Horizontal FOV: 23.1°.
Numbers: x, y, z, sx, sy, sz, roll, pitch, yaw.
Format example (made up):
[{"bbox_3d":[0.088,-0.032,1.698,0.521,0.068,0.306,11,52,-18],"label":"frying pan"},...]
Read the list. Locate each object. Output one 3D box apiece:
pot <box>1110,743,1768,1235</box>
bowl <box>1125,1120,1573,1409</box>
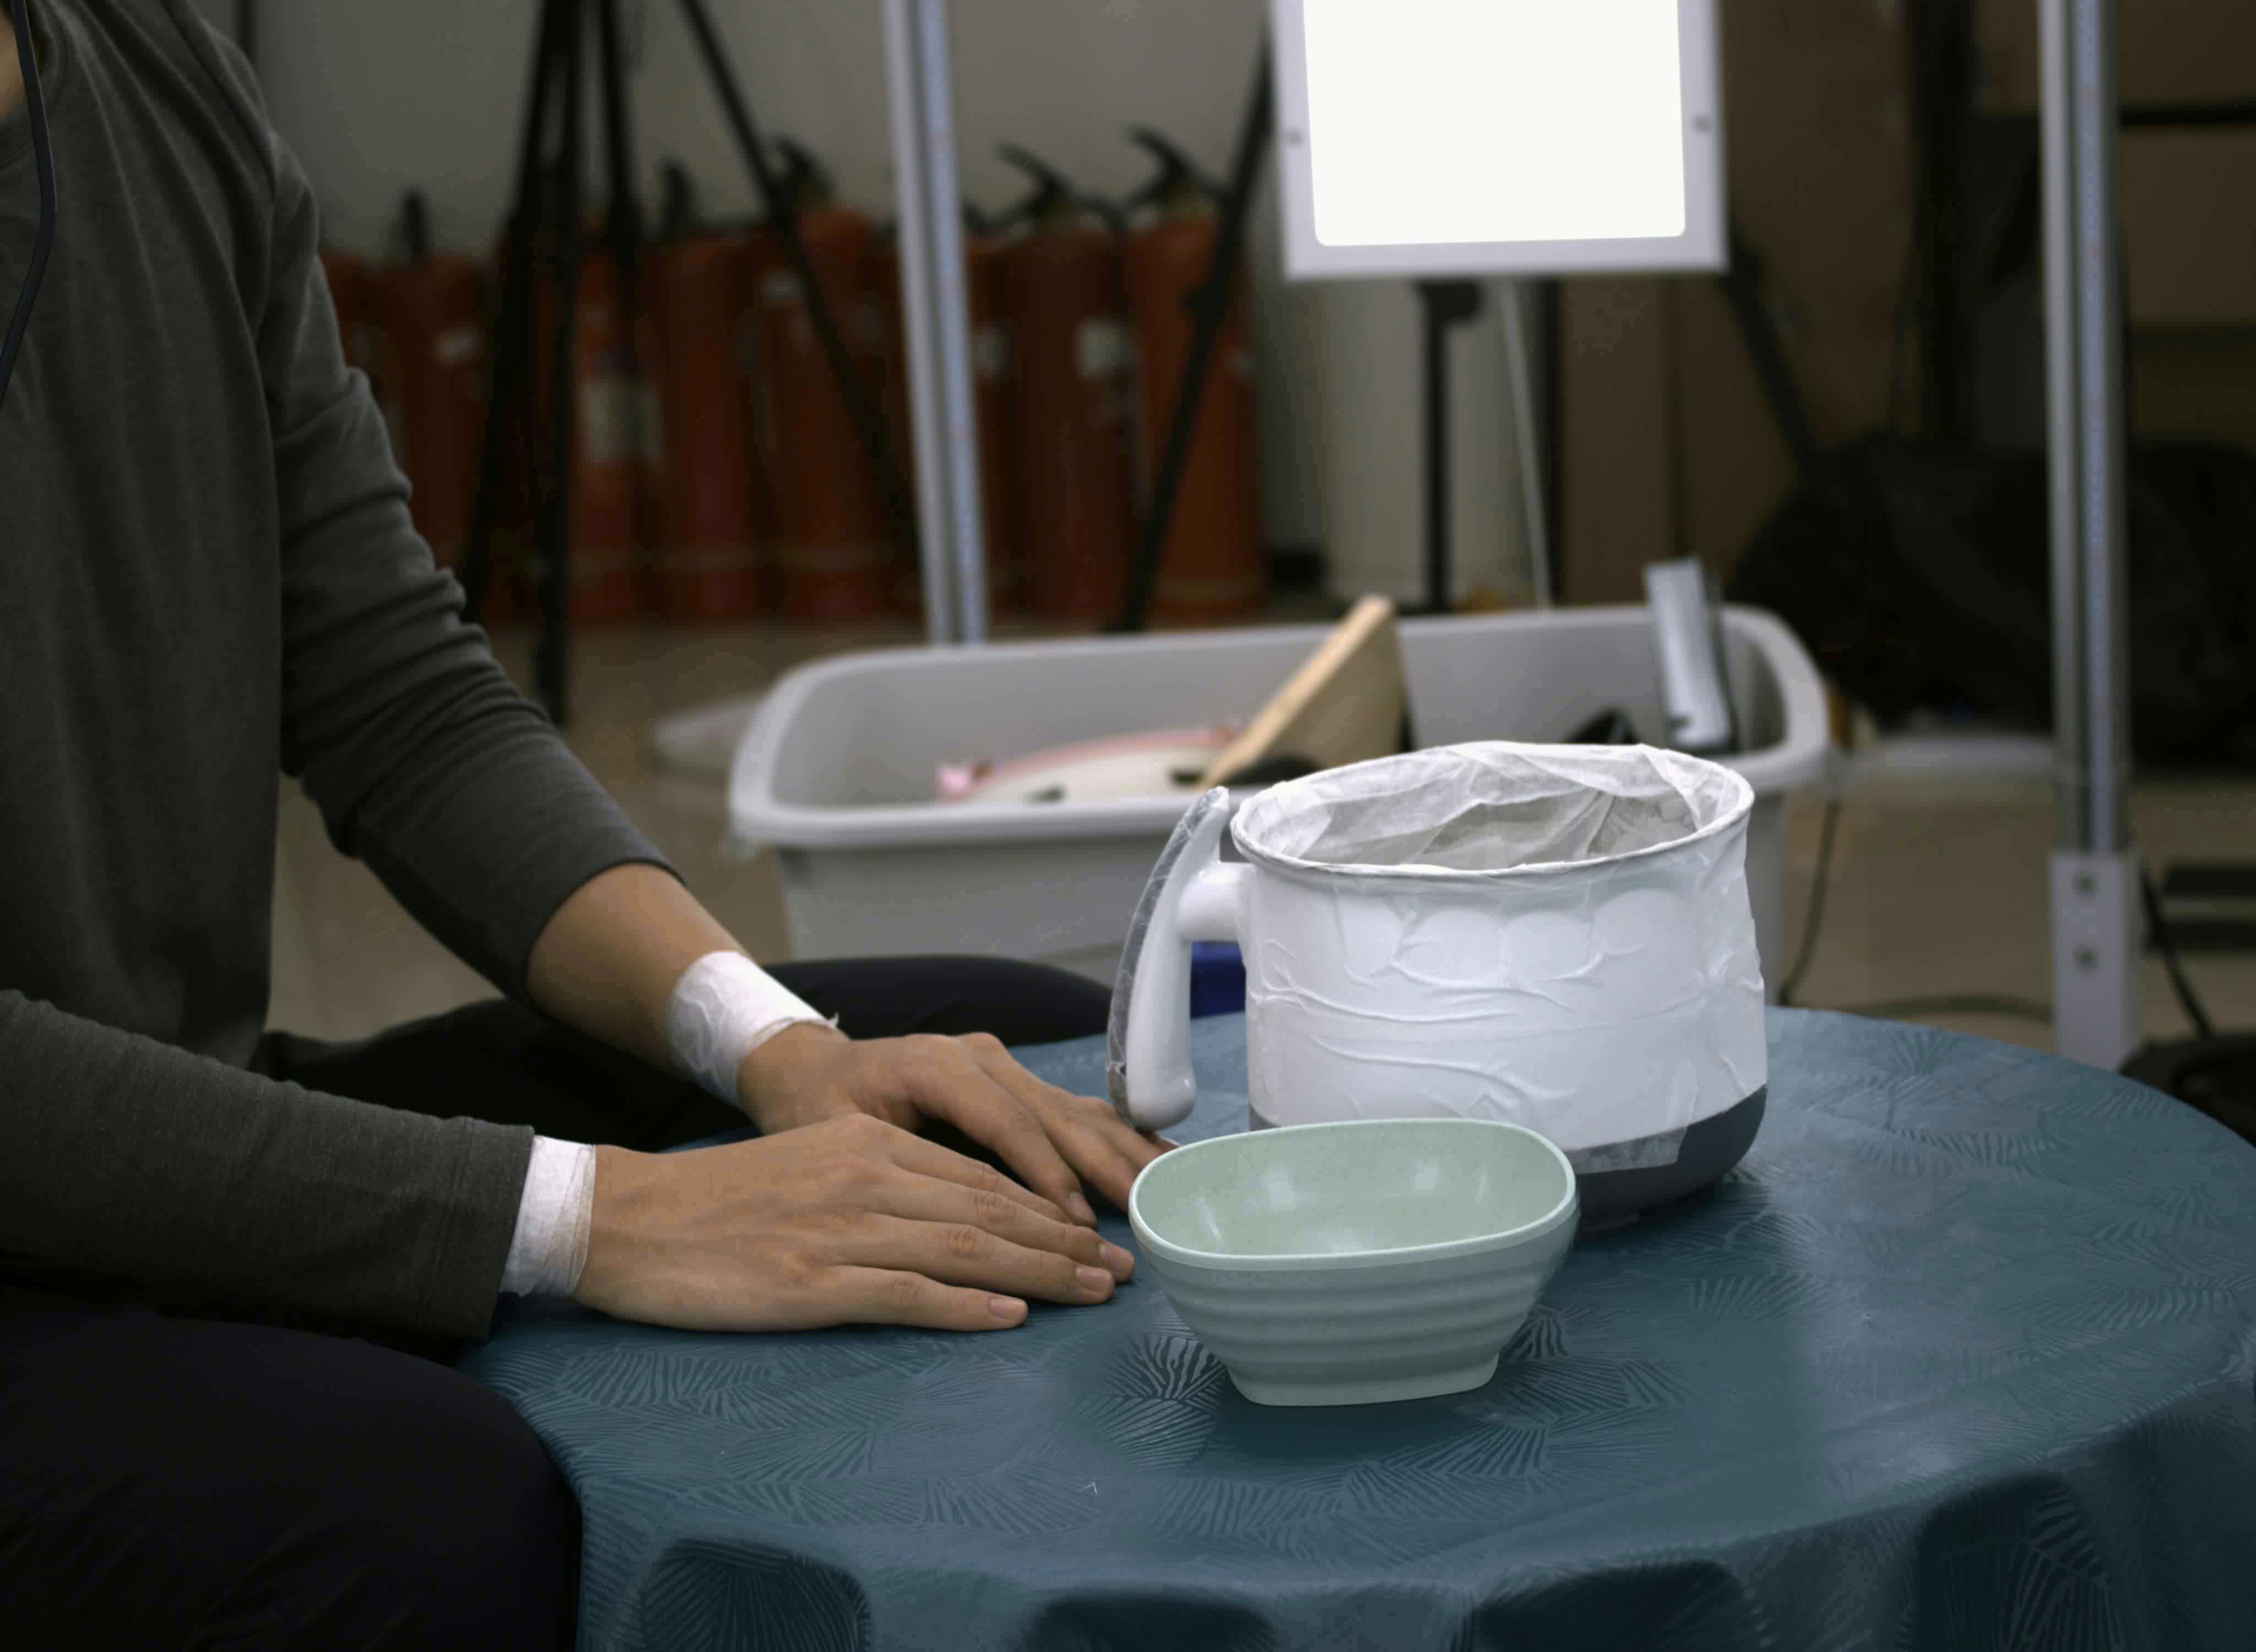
[{"bbox_3d":[0.102,0.055,1.875,0.237,0.137,0.175,0,15,22],"label":"pot"},{"bbox_3d":[0.070,0.139,1.707,0.151,0.059,0.151,-3,14,-1],"label":"bowl"}]
